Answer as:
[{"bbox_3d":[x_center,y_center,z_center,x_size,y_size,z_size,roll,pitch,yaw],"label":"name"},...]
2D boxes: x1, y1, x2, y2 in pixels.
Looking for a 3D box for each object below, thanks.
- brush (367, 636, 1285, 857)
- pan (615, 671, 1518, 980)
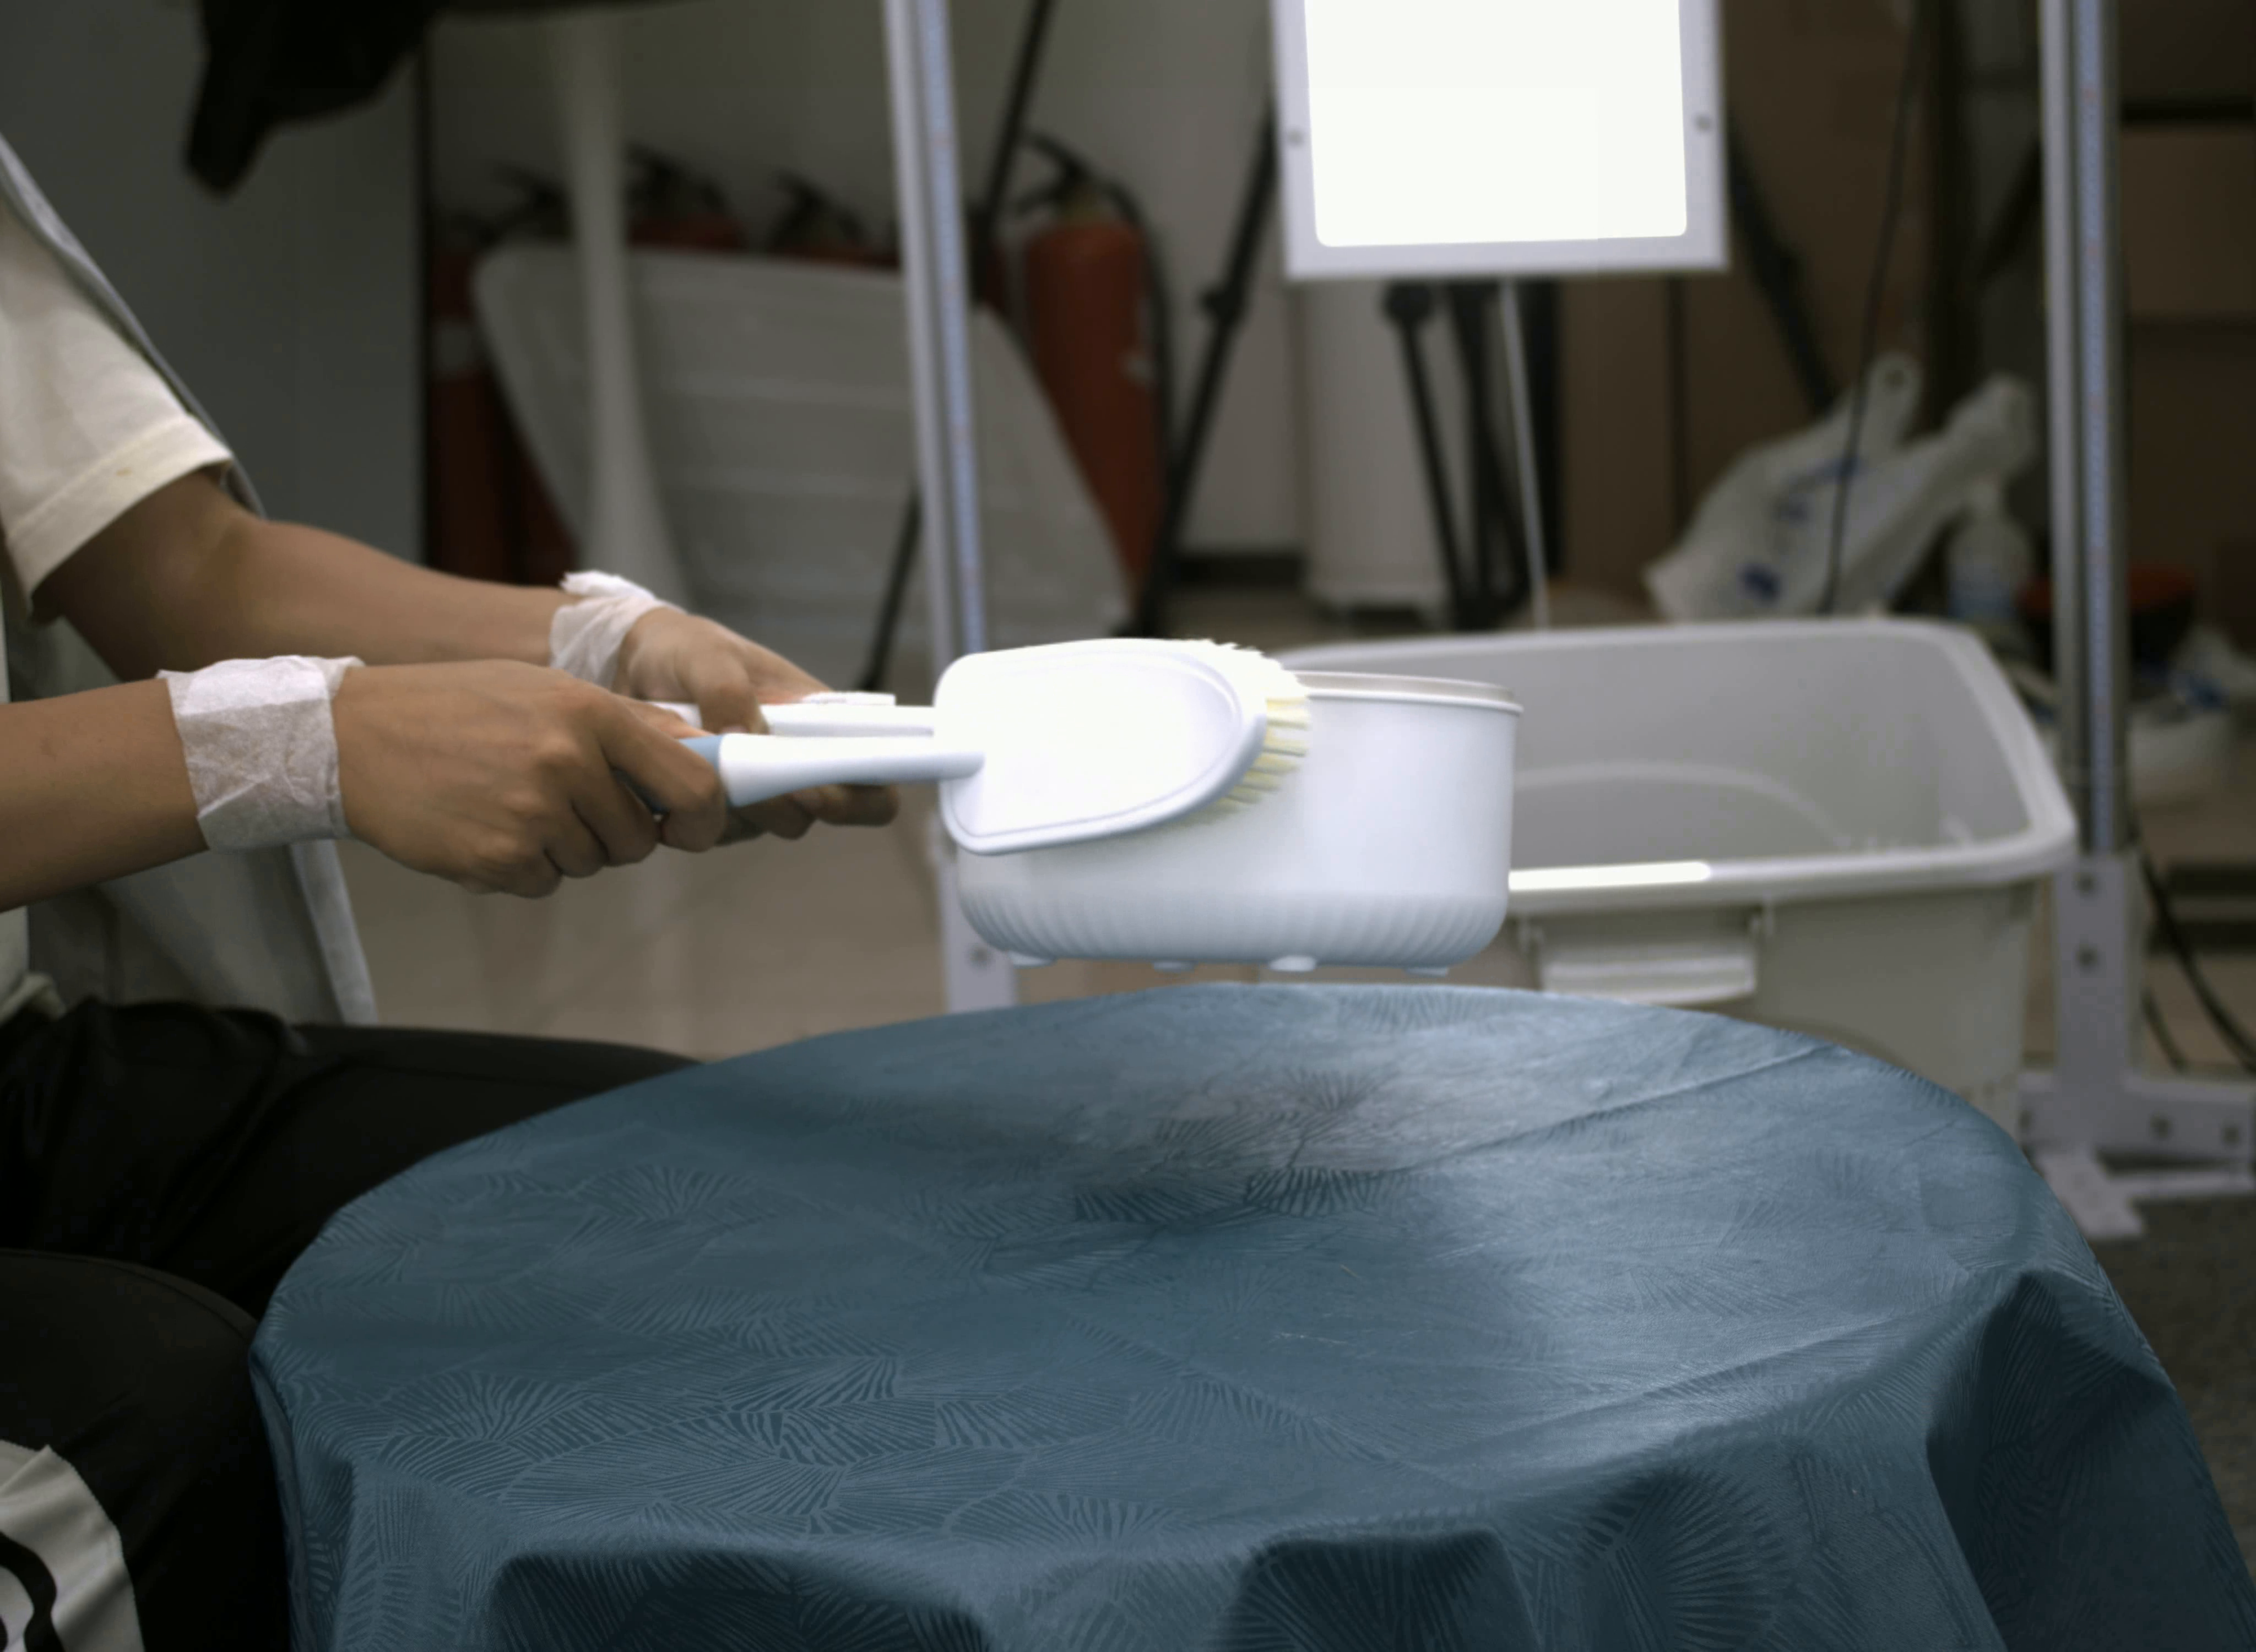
[{"bbox_3d":[-0.099,-0.023,1.853,0.330,0.084,0.082,-6,48,21],"label":"brush"},{"bbox_3d":[-0.030,0.002,1.967,0.362,0.102,0.197,0,-2,31],"label":"pan"}]
